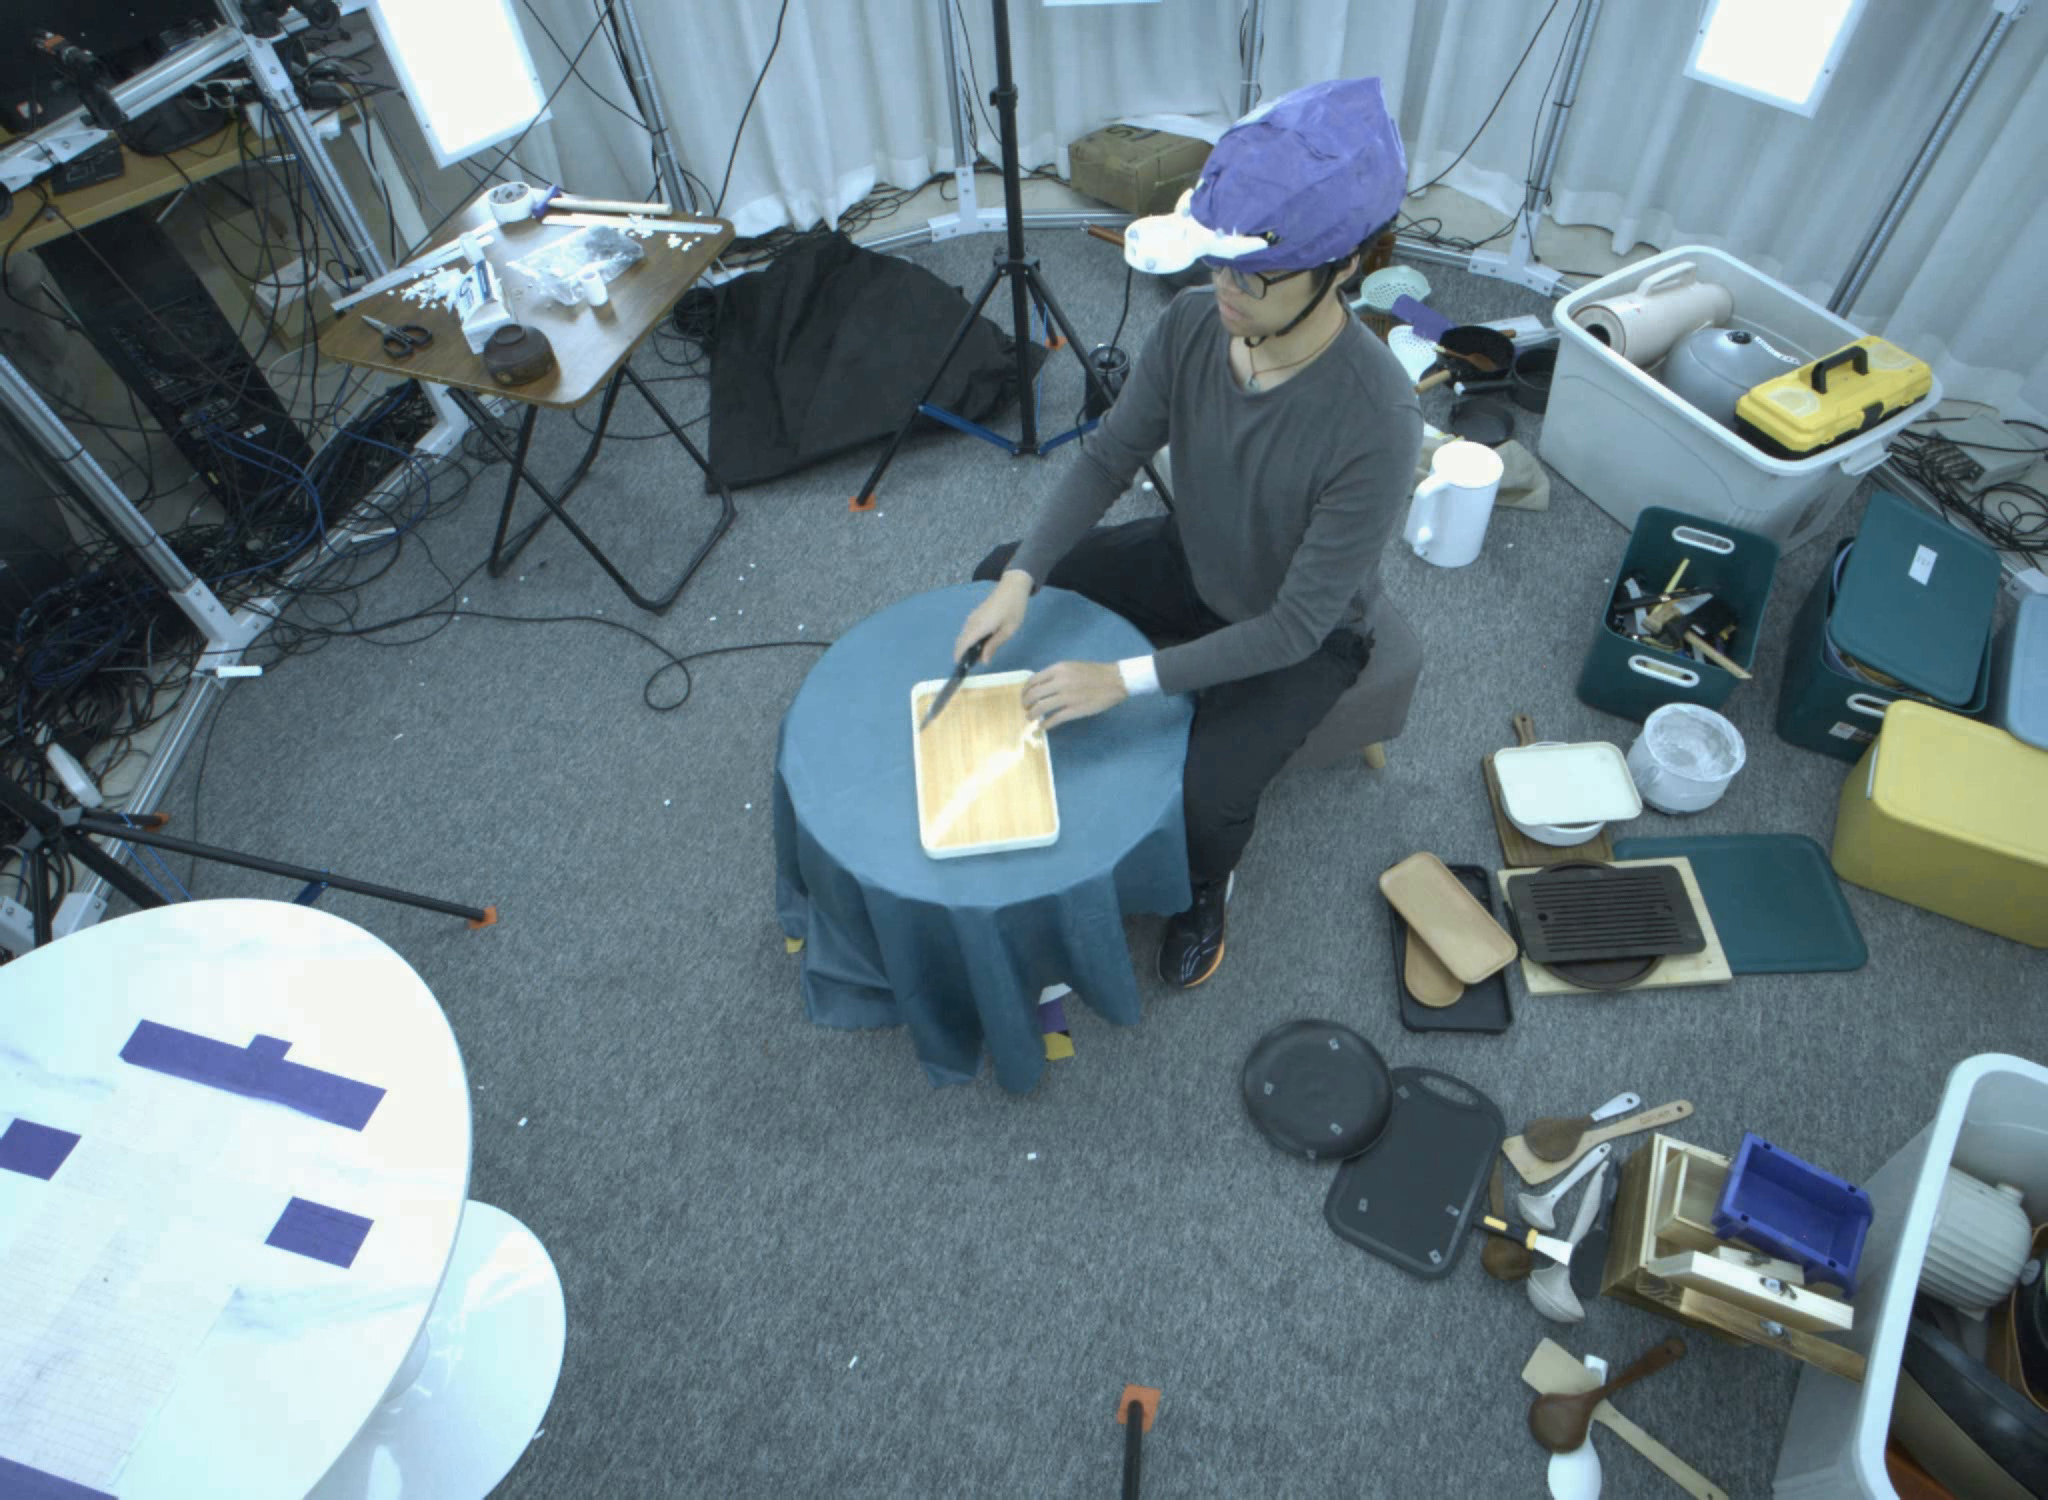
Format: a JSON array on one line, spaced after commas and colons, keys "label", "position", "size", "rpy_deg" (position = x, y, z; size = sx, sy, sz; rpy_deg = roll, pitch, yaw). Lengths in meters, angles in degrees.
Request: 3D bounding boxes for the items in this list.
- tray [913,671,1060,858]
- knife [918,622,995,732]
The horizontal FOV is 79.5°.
[{"label": "tray", "position": [-0.058, 0.015, 1.770], "size": [0.192, 0.027, 0.296], "rpy_deg": [-5, 54, -3]}, {"label": "knife", "position": [-0.099, -0.109, 1.761], "size": [0.016, 0.025, 0.238], "rpy_deg": [-7, 38, 39]}]
